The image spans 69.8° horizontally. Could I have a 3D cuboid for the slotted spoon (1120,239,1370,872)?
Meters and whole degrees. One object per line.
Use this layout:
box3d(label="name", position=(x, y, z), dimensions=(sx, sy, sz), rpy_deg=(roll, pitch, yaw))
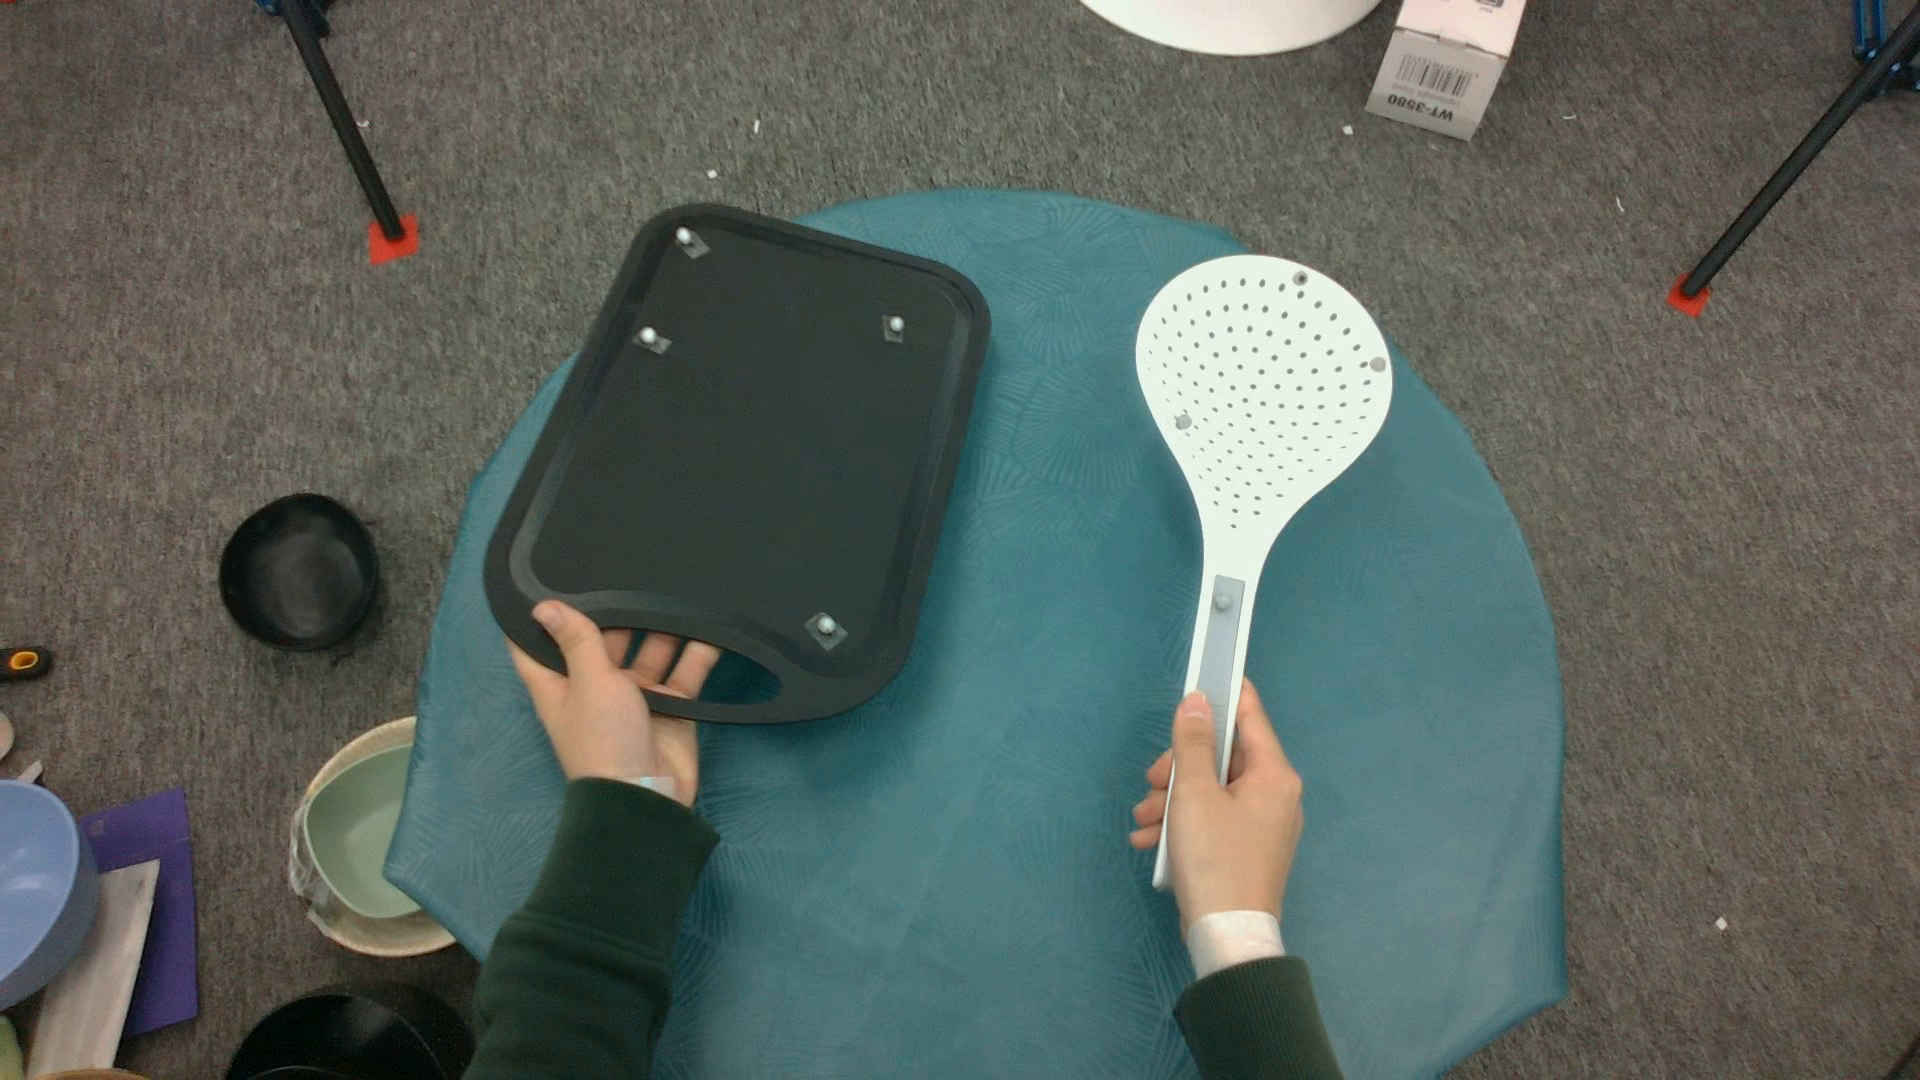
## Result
box3d(label="slotted spoon", position=(0.129, -0.006, 0.699), dimensions=(0.136, 0.045, 0.351), rpy_deg=(13, 61, 1))

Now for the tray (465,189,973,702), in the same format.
box3d(label="tray", position=(-0.116, -0.062, 0.724), dimensions=(0.211, 0.010, 0.327), rpy_deg=(14, 55, -1))
